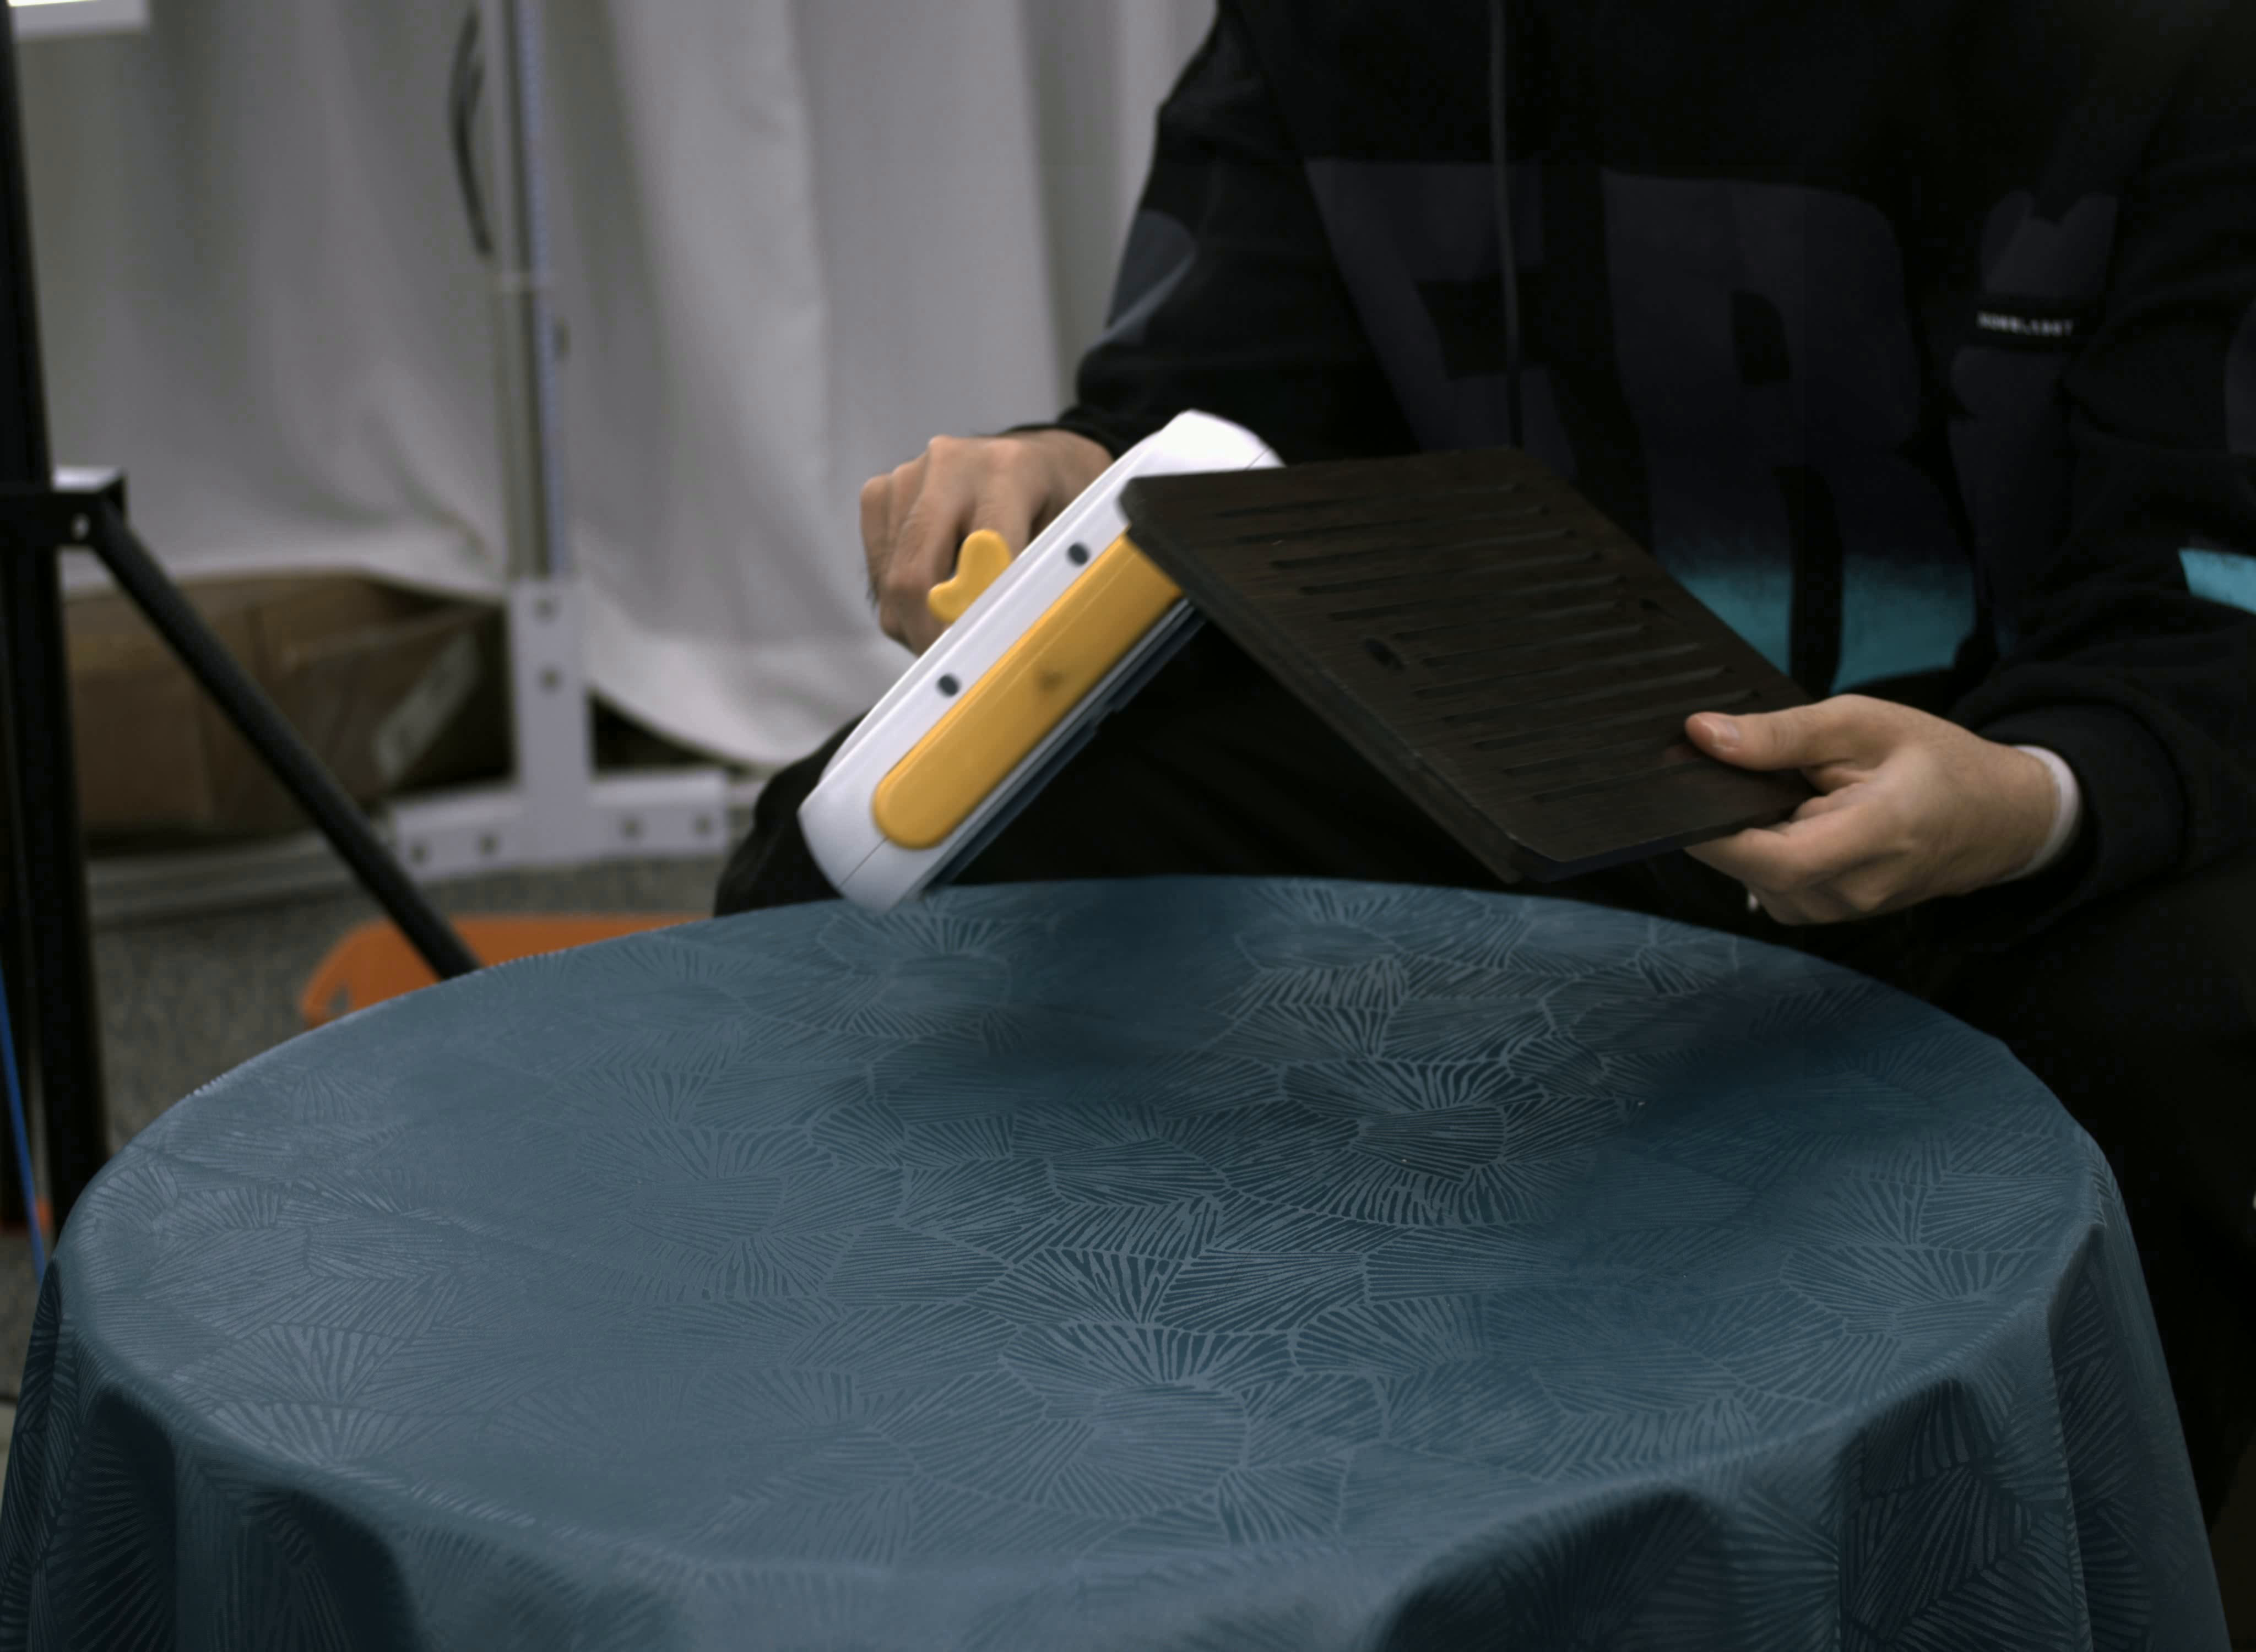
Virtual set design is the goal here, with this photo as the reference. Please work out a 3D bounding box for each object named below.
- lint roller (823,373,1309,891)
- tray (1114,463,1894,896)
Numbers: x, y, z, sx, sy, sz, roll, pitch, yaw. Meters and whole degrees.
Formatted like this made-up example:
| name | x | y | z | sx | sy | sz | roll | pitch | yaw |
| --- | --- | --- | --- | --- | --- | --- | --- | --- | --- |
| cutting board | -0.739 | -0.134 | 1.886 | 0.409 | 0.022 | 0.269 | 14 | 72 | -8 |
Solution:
| name | x | y | z | sx | sy | sz | roll | pitch | yaw |
| --- | --- | --- | --- | --- | --- | --- | --- | --- | --- |
| lint roller | -0.033 | -0.069 | 1.730 | 0.073 | 0.193 | 0.194 | 39 | -2 | -9 |
| tray | 0.119 | -0.047 | 1.607 | 0.172 | 0.019 | 0.300 | 41 | 21 | 19 |
